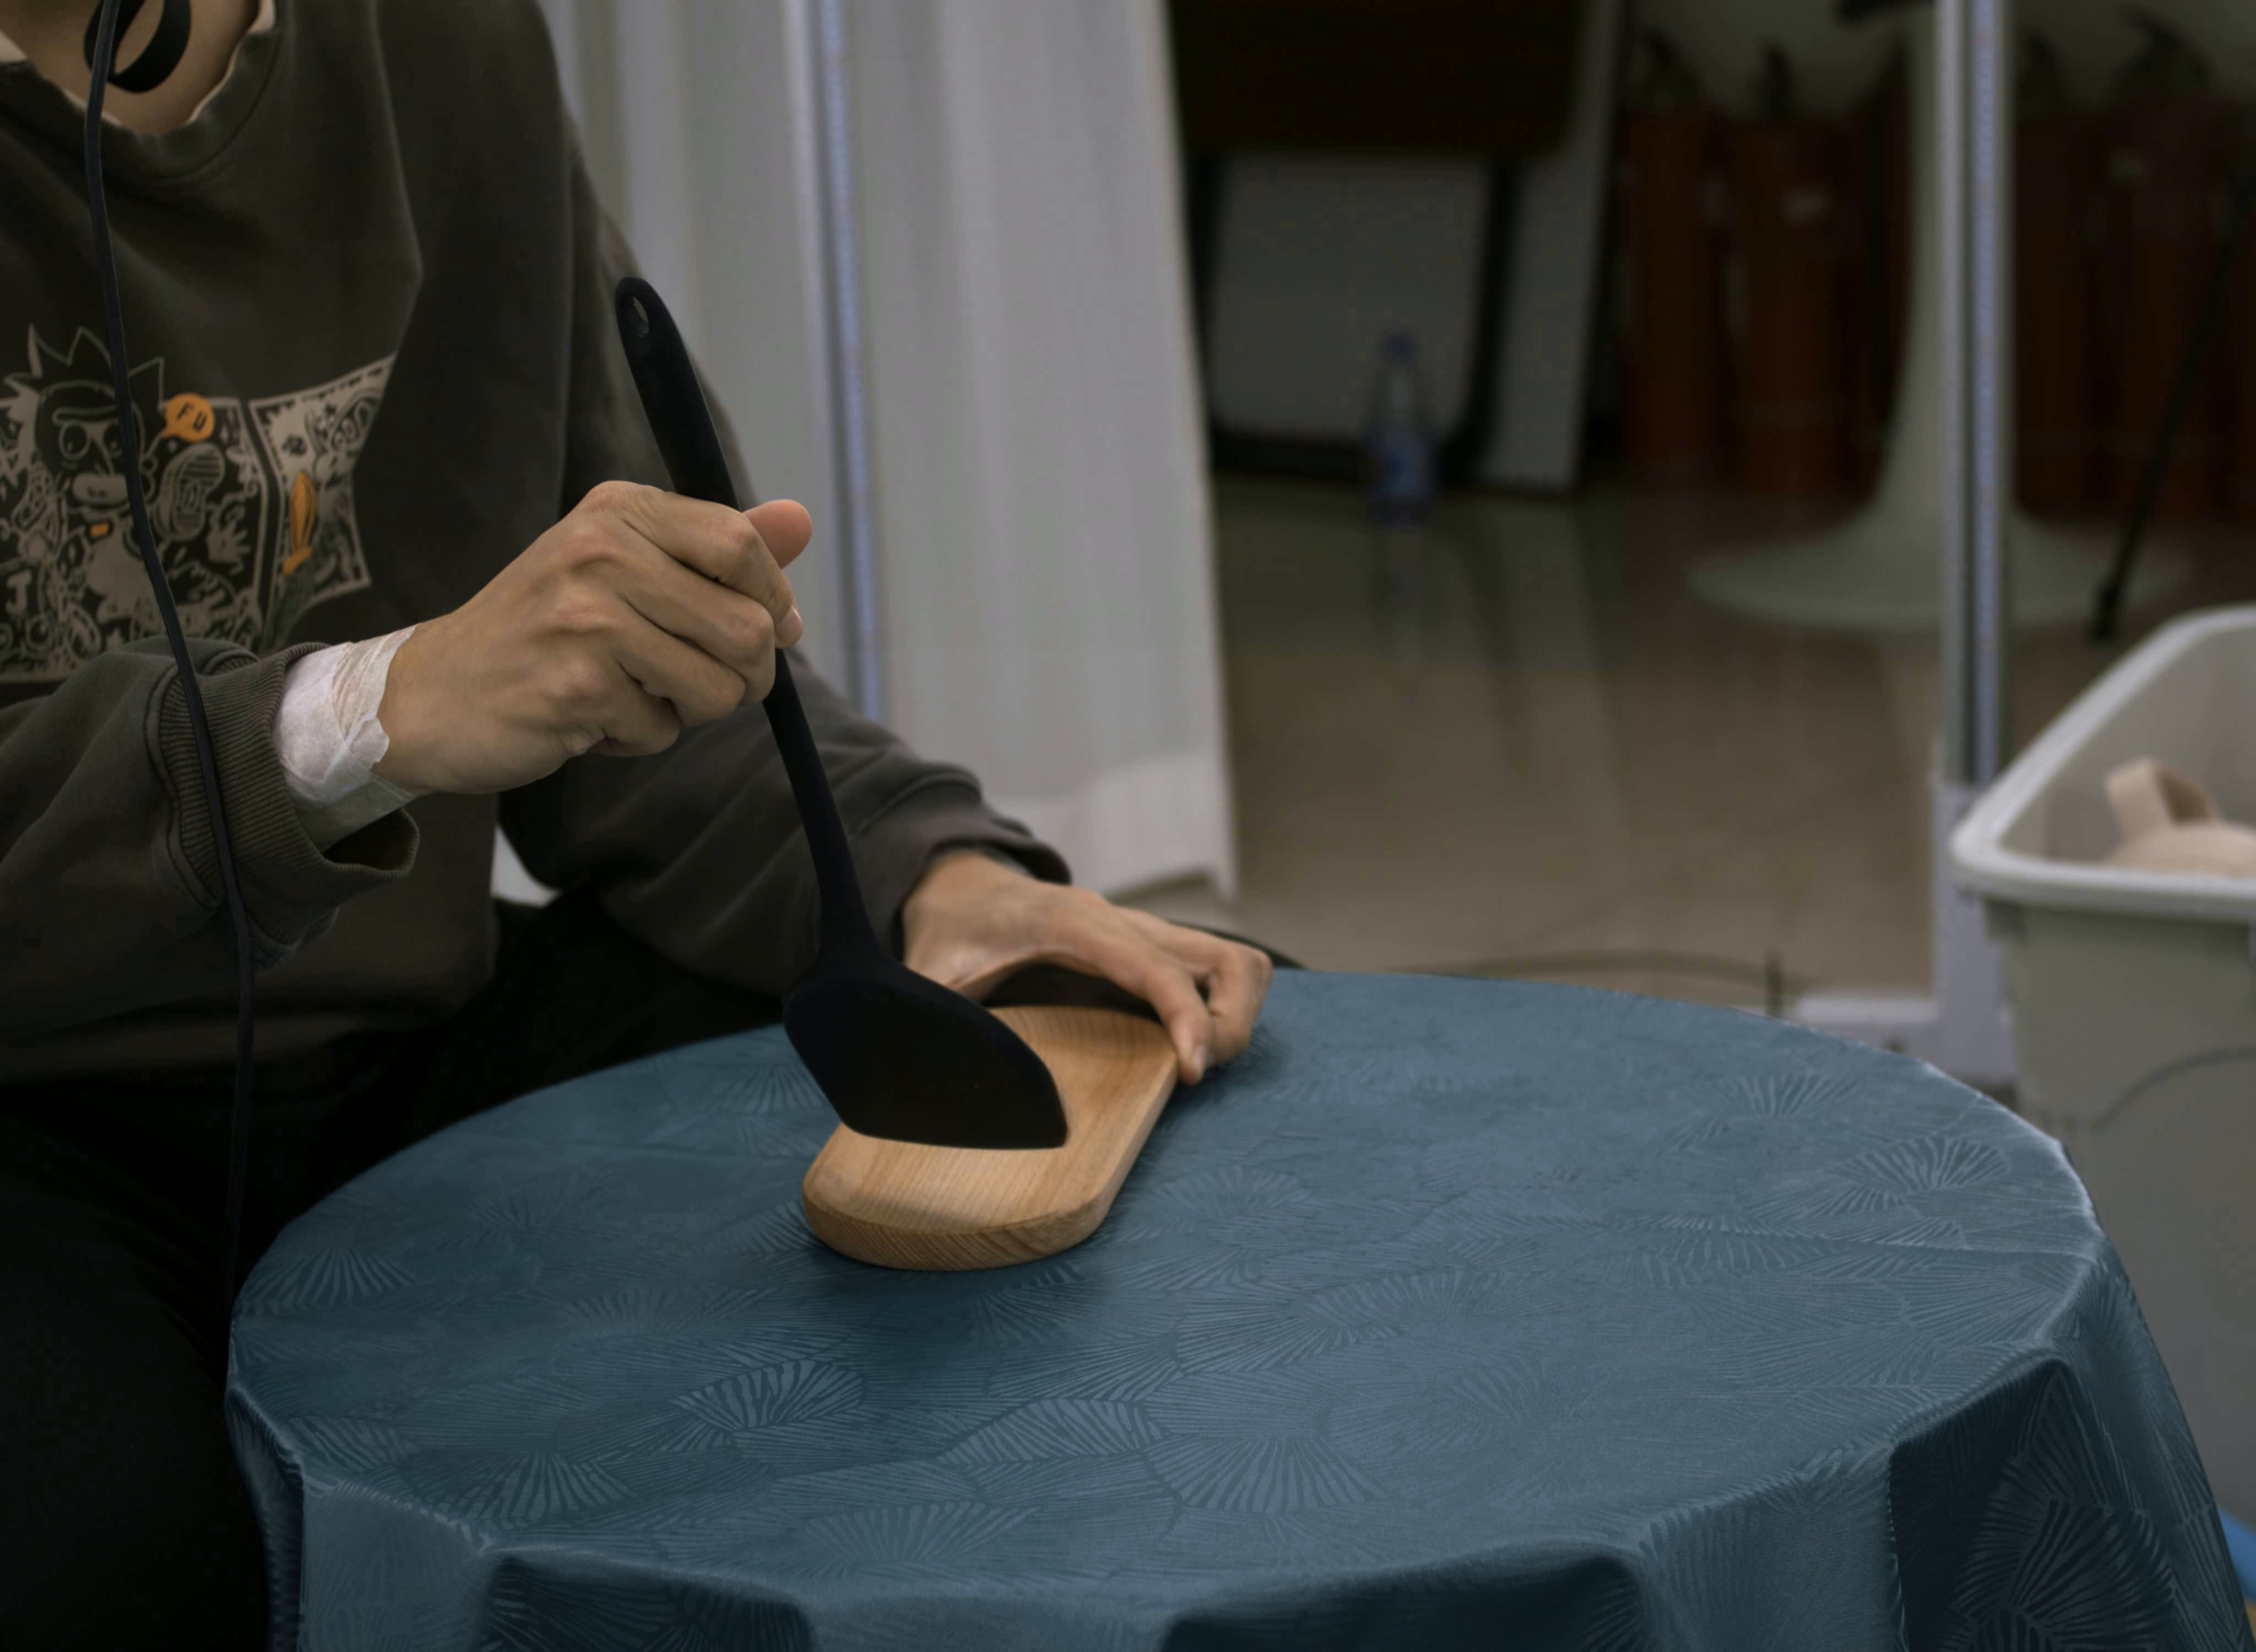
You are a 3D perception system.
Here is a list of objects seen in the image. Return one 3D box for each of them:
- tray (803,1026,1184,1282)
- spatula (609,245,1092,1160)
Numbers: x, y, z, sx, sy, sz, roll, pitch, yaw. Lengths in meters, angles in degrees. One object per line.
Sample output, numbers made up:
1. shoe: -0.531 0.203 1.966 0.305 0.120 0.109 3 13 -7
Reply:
1. tray: -0.042 0.108 1.805 0.101 0.020 0.230 0 17 11
2. spatula: -0.099 -0.031 1.660 0.100 0.328 0.040 -2 26 32
